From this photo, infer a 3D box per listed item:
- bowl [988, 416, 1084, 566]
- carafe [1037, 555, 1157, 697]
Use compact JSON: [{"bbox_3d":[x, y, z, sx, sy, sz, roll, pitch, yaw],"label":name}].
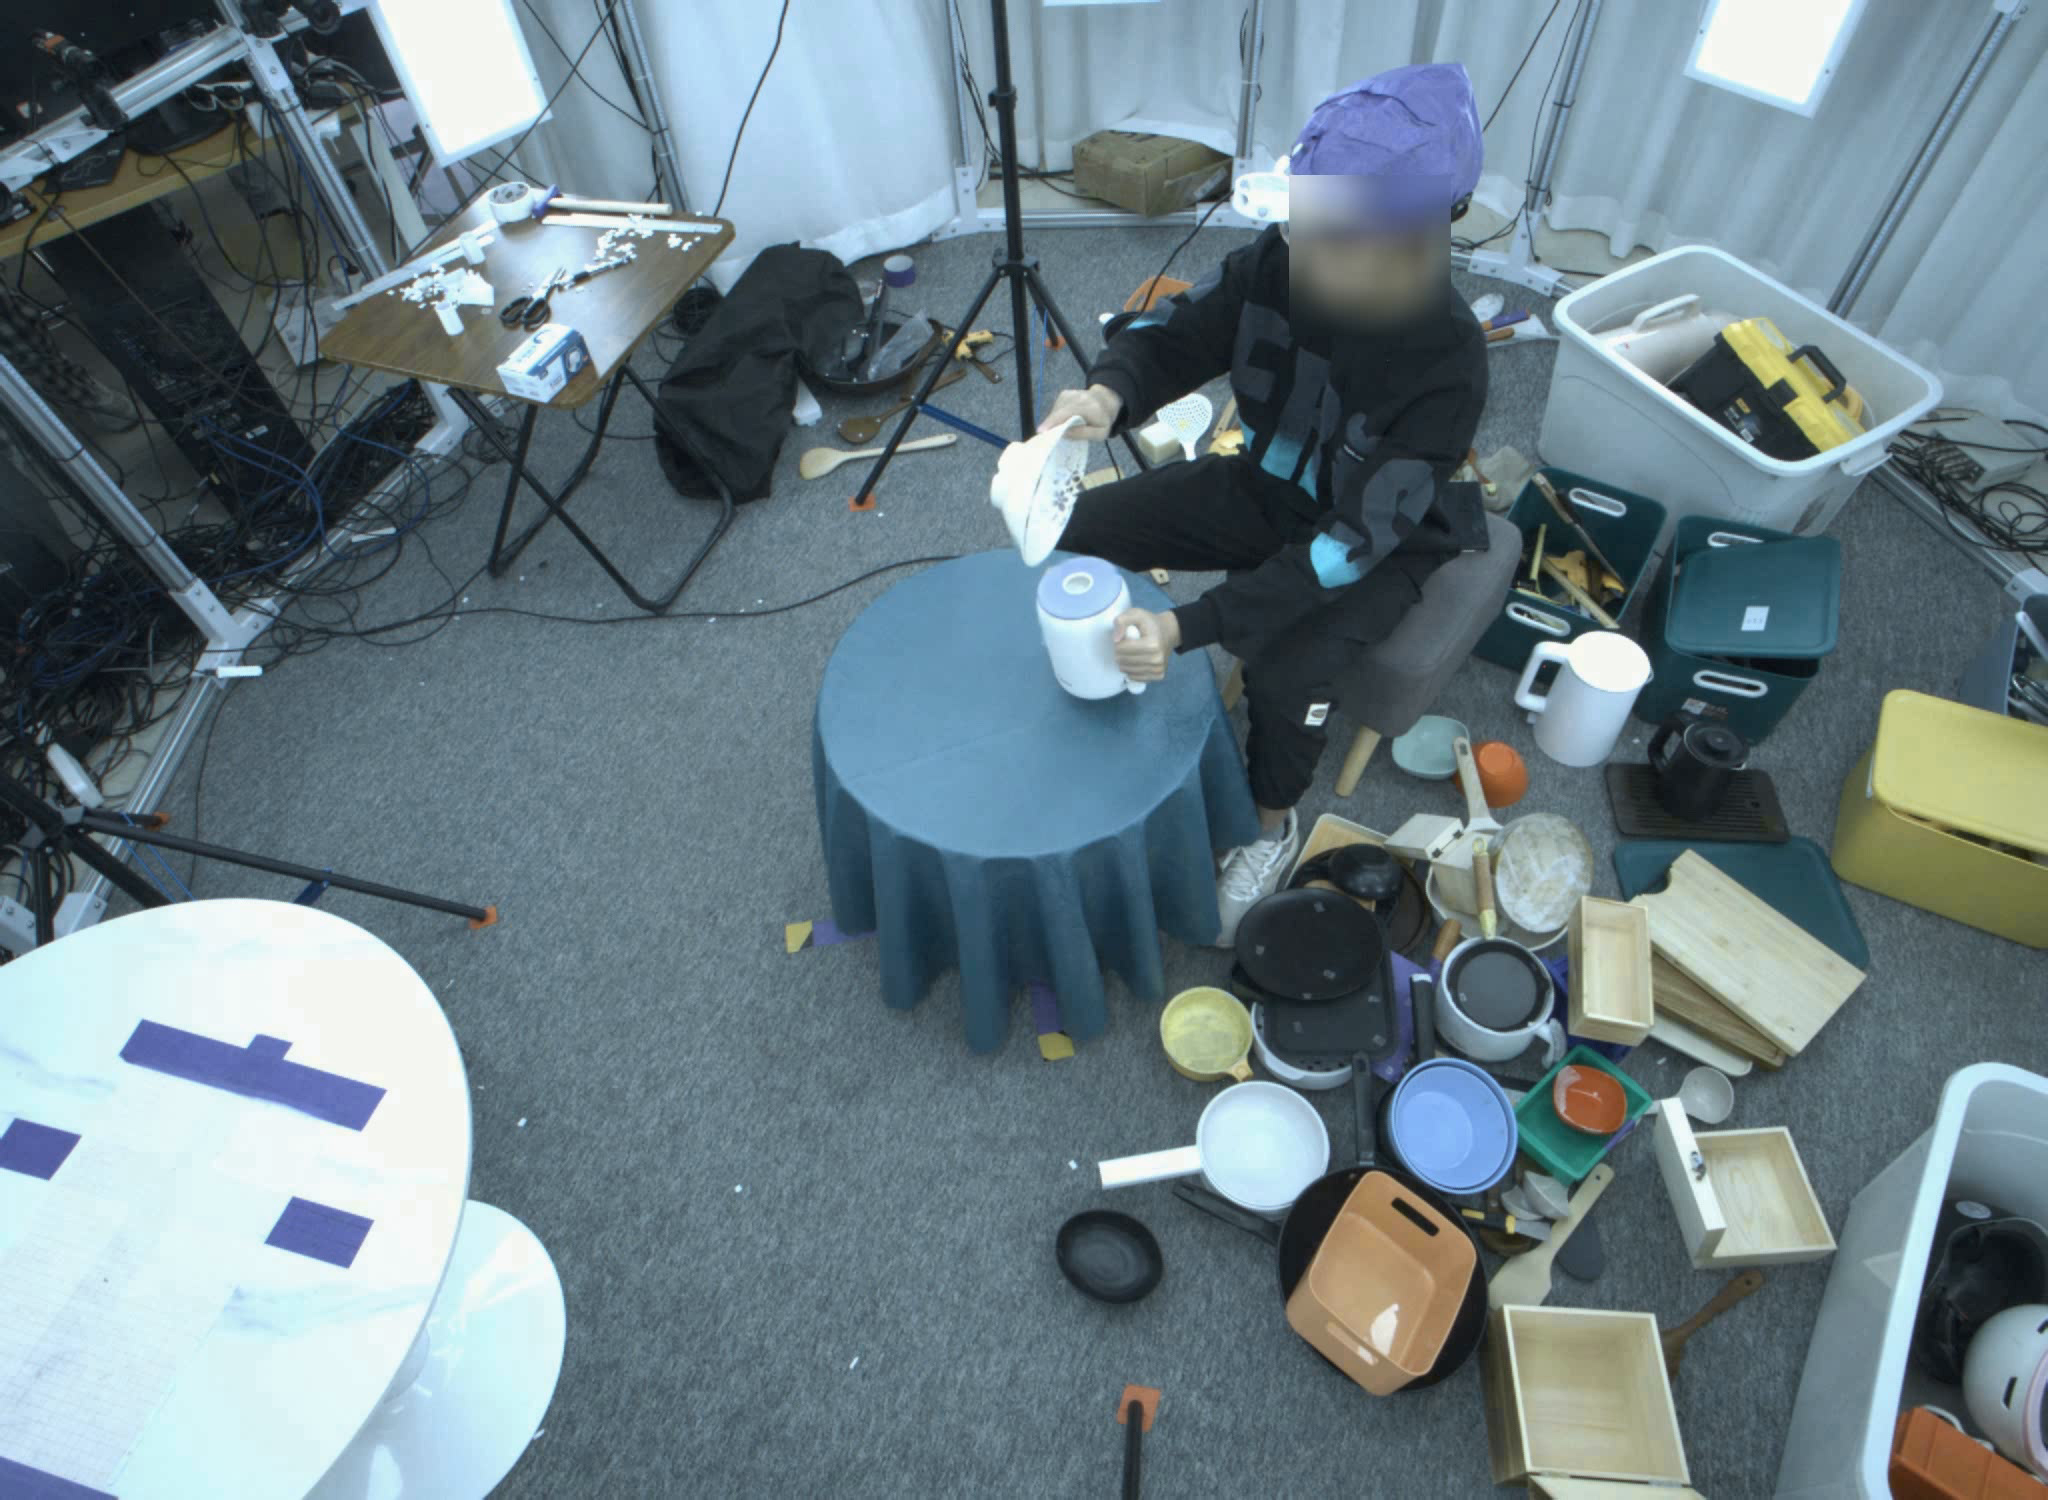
[{"bbox_3d":[0.005,-0.346,1.582,0.077,0.205,0.204,20,58,10],"label":"bowl"},{"bbox_3d":[0.110,-0.163,1.734,0.133,0.185,0.187,-43,57,-17],"label":"carafe"}]
